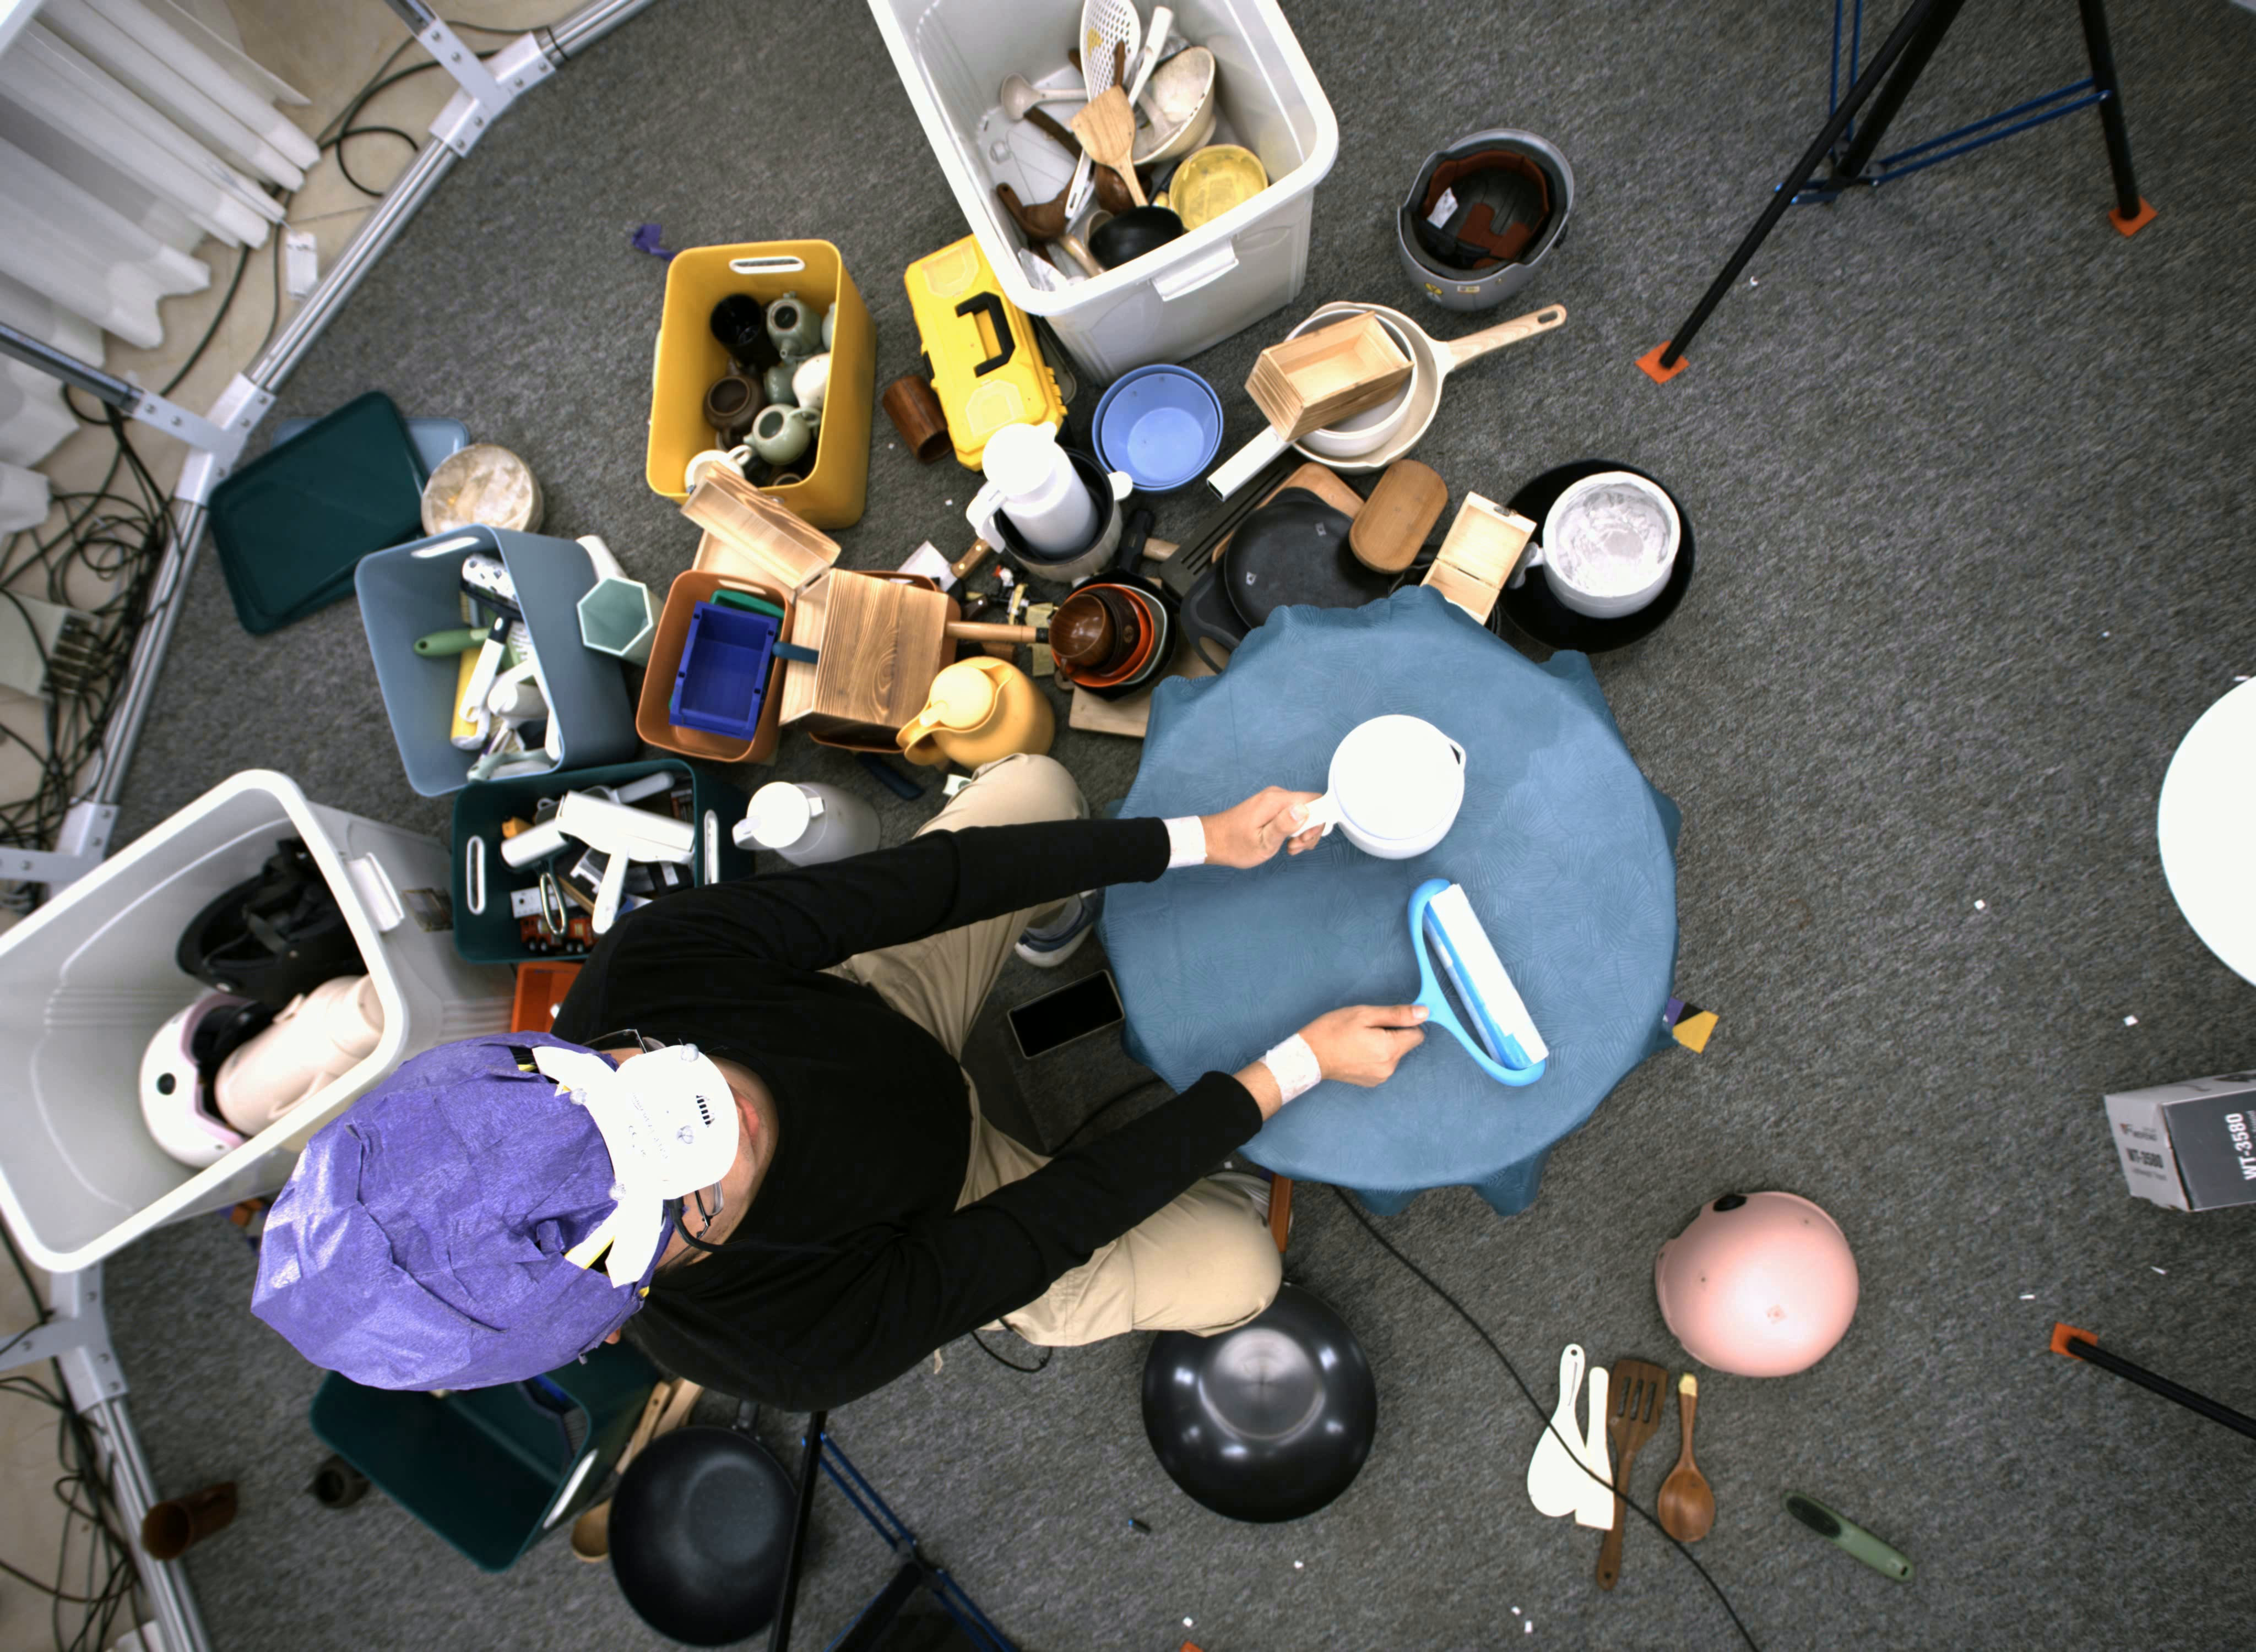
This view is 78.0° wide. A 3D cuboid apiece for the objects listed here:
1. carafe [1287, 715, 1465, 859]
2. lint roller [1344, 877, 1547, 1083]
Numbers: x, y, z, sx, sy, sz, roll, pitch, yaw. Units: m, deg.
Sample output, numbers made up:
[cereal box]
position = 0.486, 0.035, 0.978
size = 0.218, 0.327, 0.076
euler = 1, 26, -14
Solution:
[carafe]
position = 0.246, -0.029, 1.383
size = 0.192, 0.182, 0.131
euler = -24, 81, 11
[lint roller]
position = 0.308, 0.182, 1.411
size = 0.180, 0.068, 0.228
euler = -29, 85, -4
